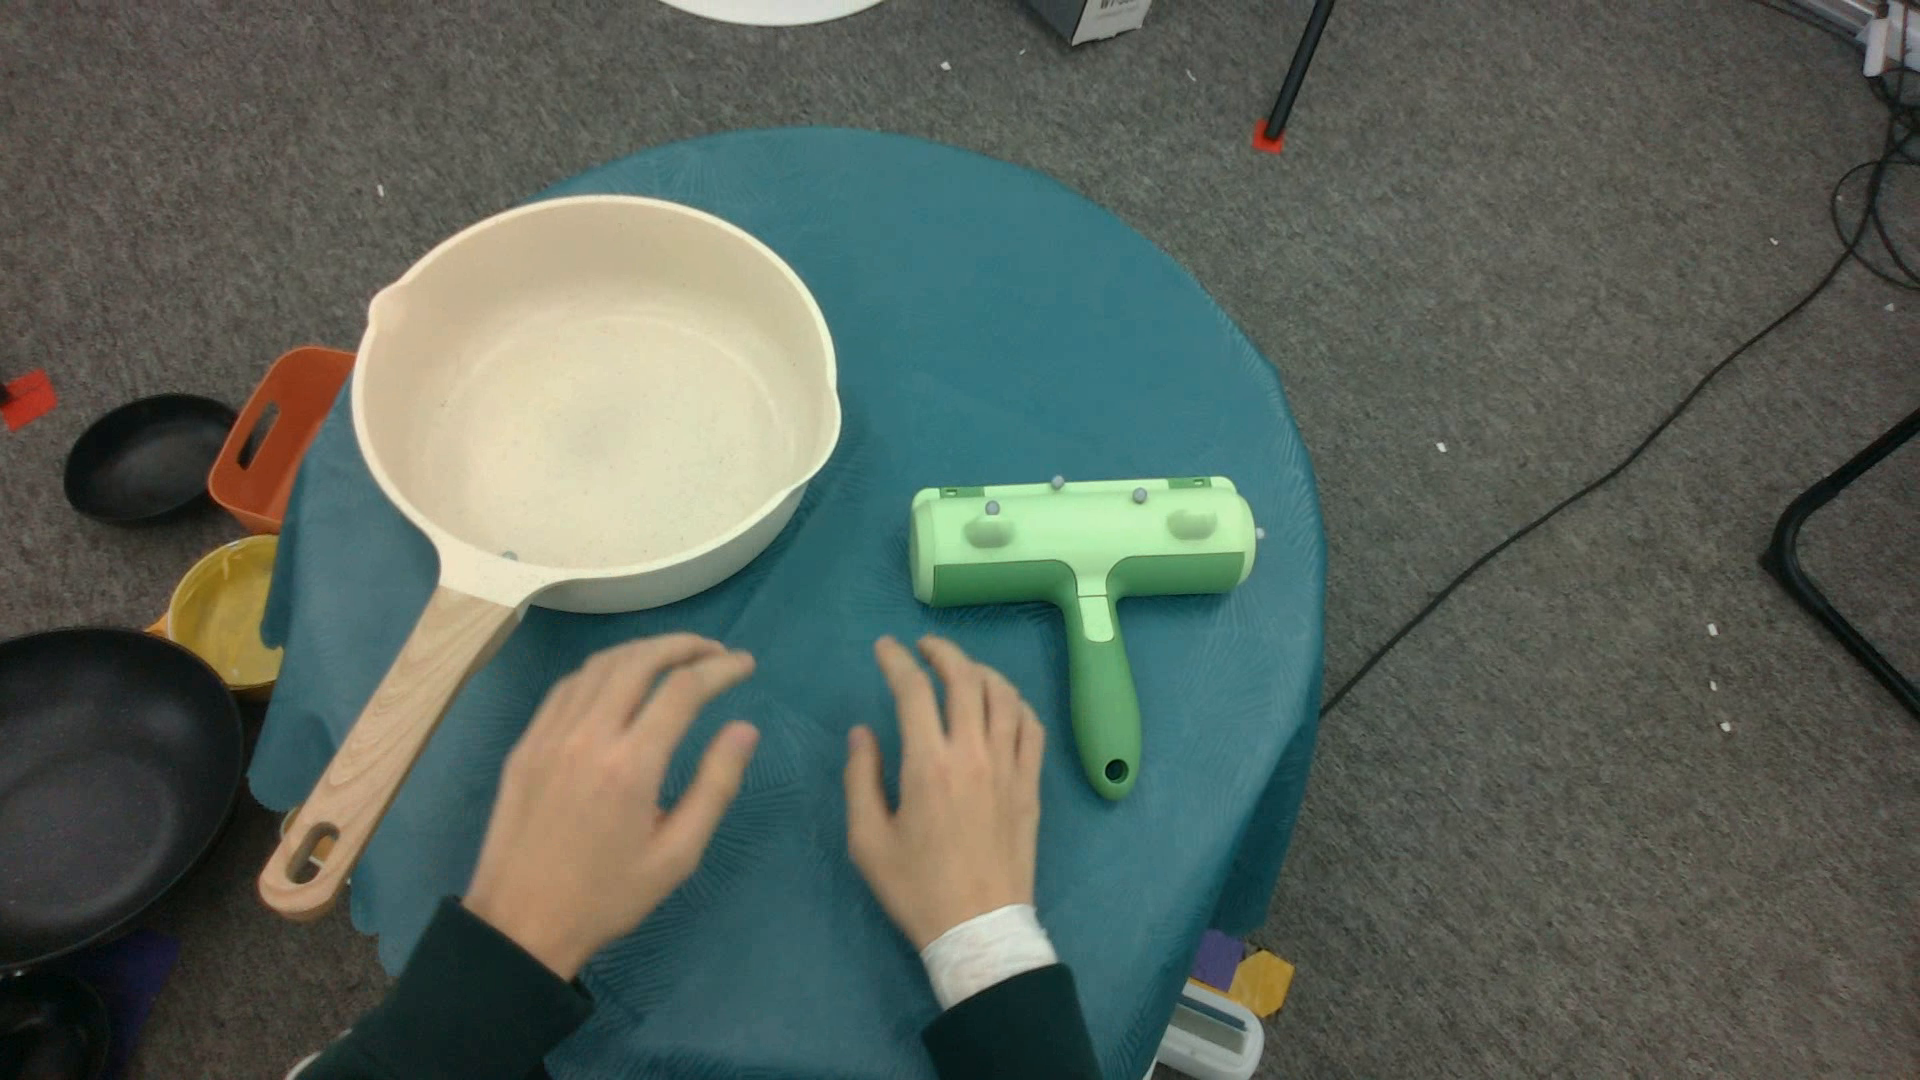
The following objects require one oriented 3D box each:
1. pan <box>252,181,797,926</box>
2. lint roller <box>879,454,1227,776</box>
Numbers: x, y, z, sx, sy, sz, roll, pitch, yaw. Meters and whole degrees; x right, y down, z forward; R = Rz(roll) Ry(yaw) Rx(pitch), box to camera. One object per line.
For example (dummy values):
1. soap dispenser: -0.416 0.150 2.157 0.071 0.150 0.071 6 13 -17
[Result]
1. pan: -0.243 -0.004 0.720 0.263 0.101 0.437 16 60 0
2. lint roller: 0.062 0.031 0.754 0.199 0.082 0.184 -4 56 -10
